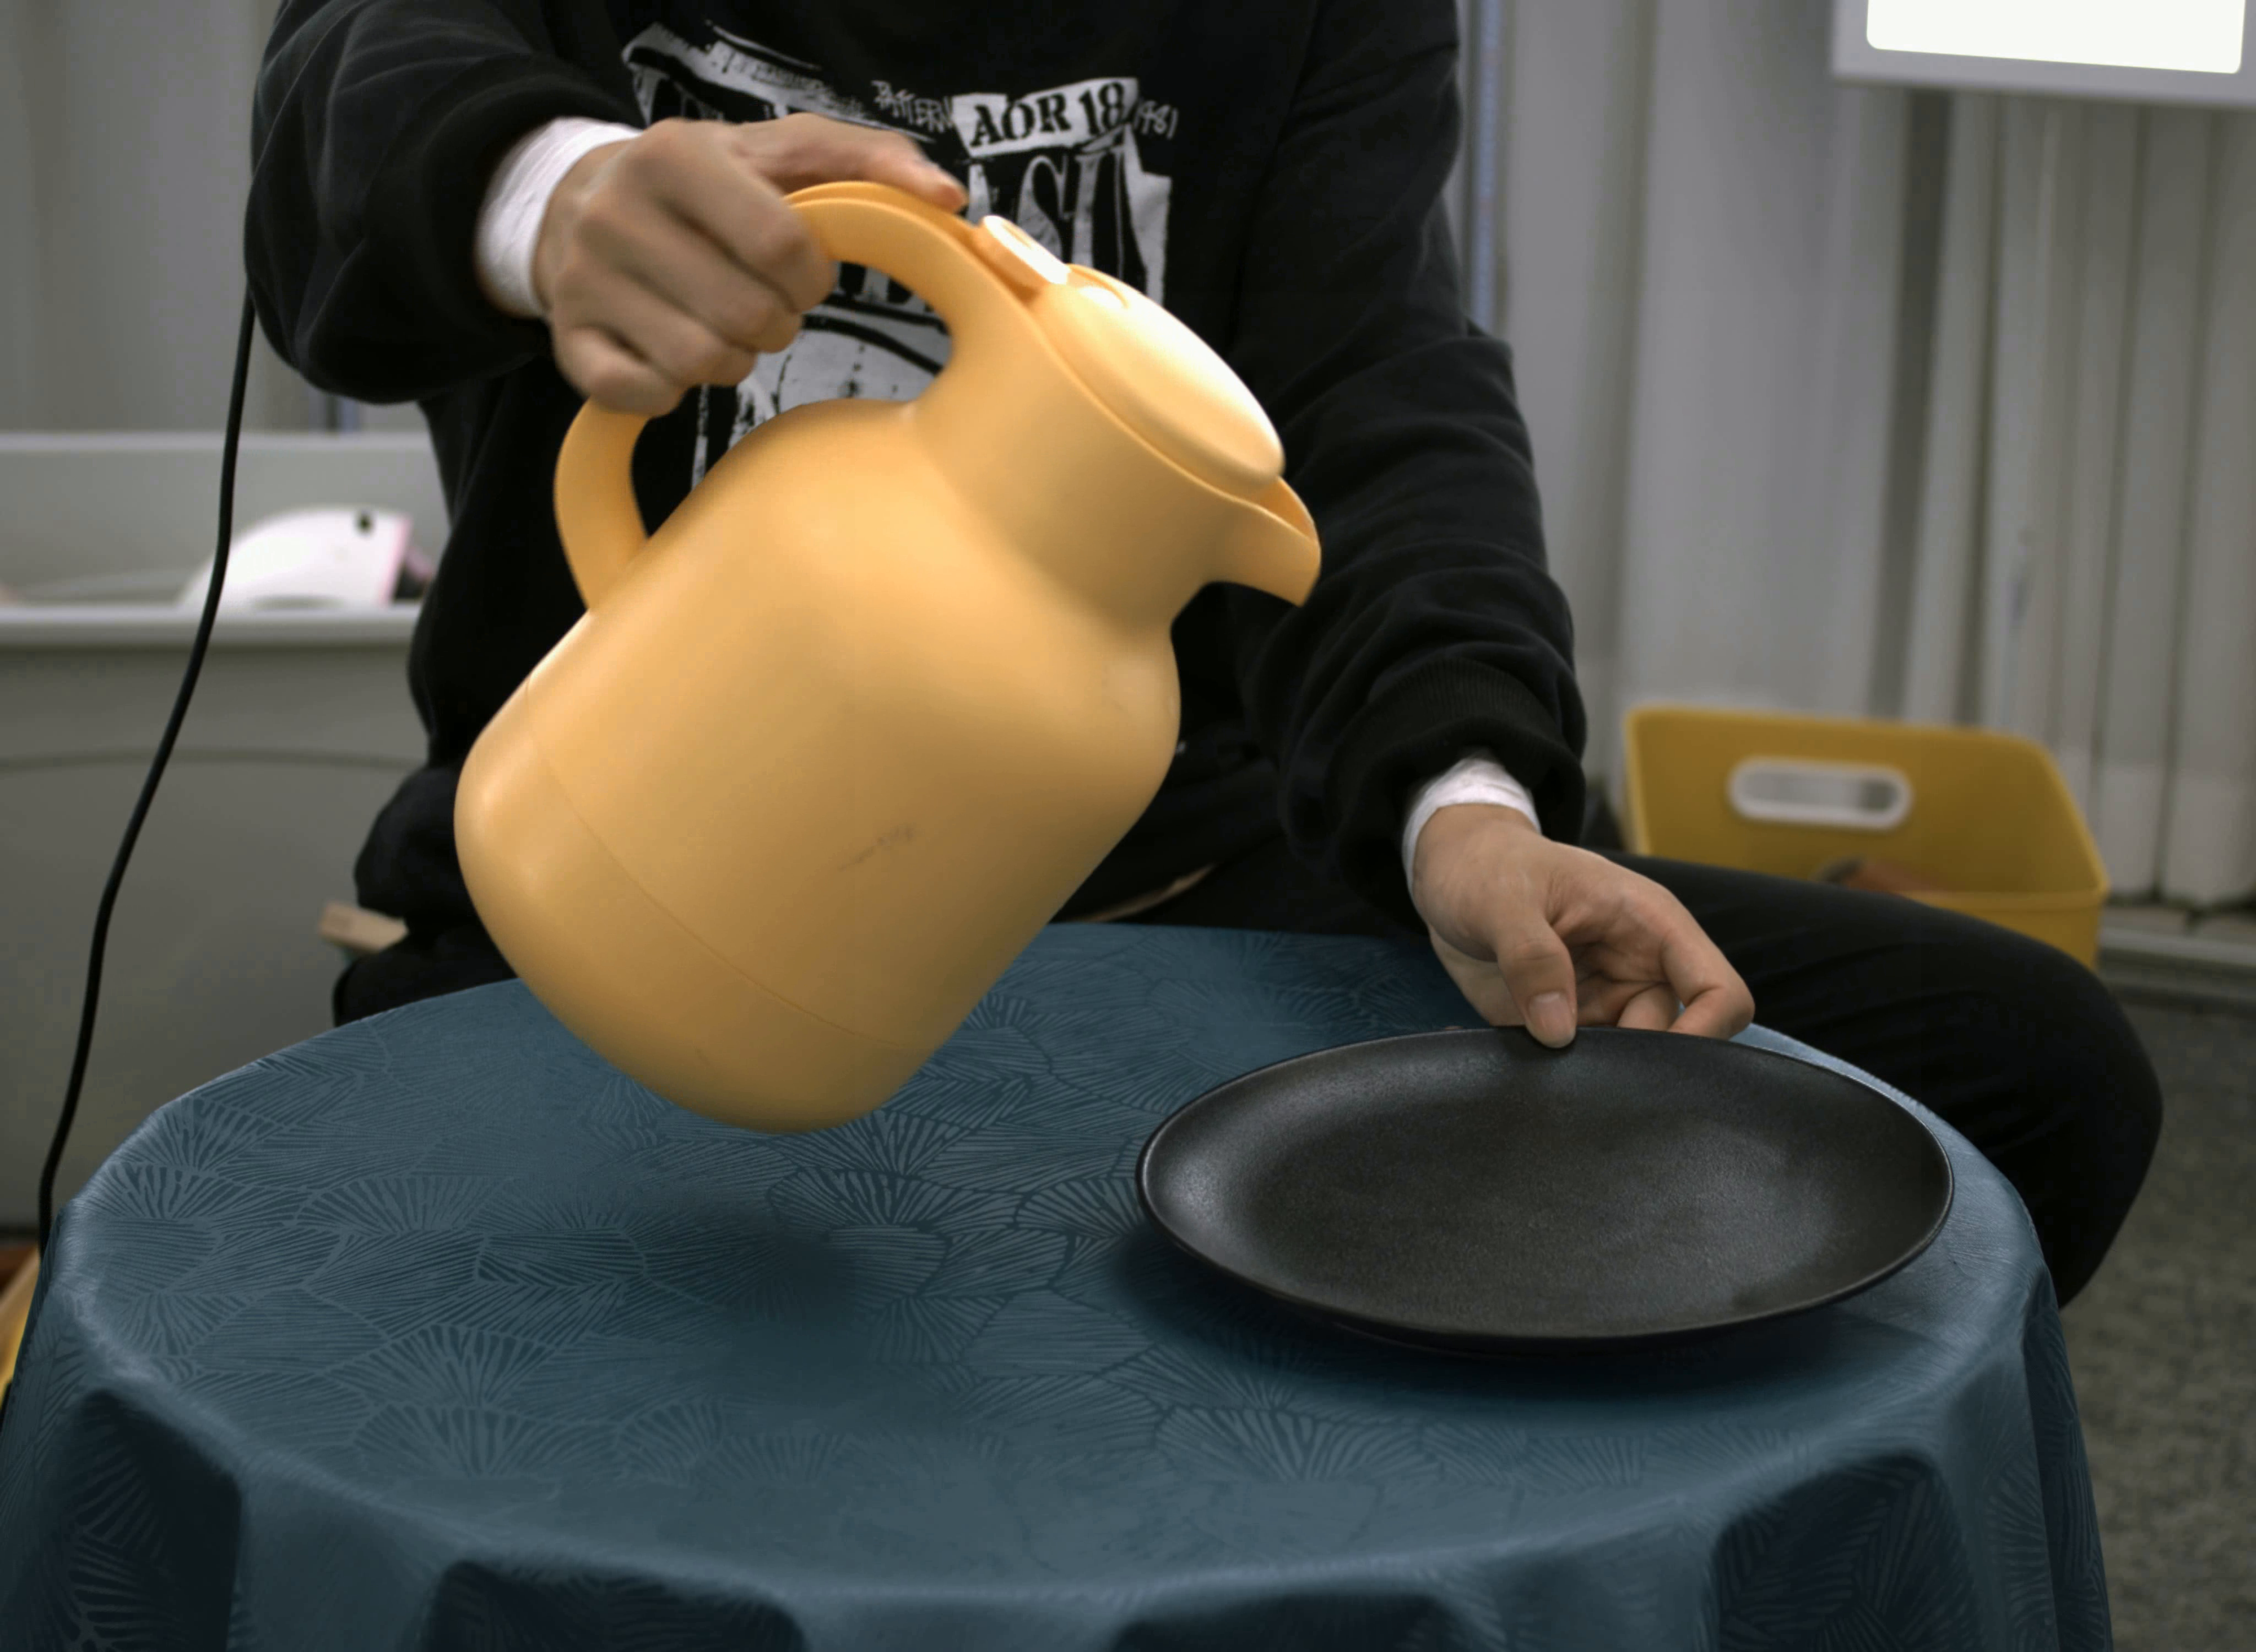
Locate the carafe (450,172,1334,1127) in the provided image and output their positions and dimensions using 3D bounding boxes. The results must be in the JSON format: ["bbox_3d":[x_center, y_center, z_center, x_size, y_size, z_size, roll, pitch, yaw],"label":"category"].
[{"bbox_3d":[-0.080,-0.058,1.524,0.203,0.260,0.163,43,17,-6],"label":"carafe"}]

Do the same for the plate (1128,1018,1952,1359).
[{"bbox_3d":[0.122,0.111,1.567,0.243,0.023,0.243,0,19,1],"label":"plate"}]
